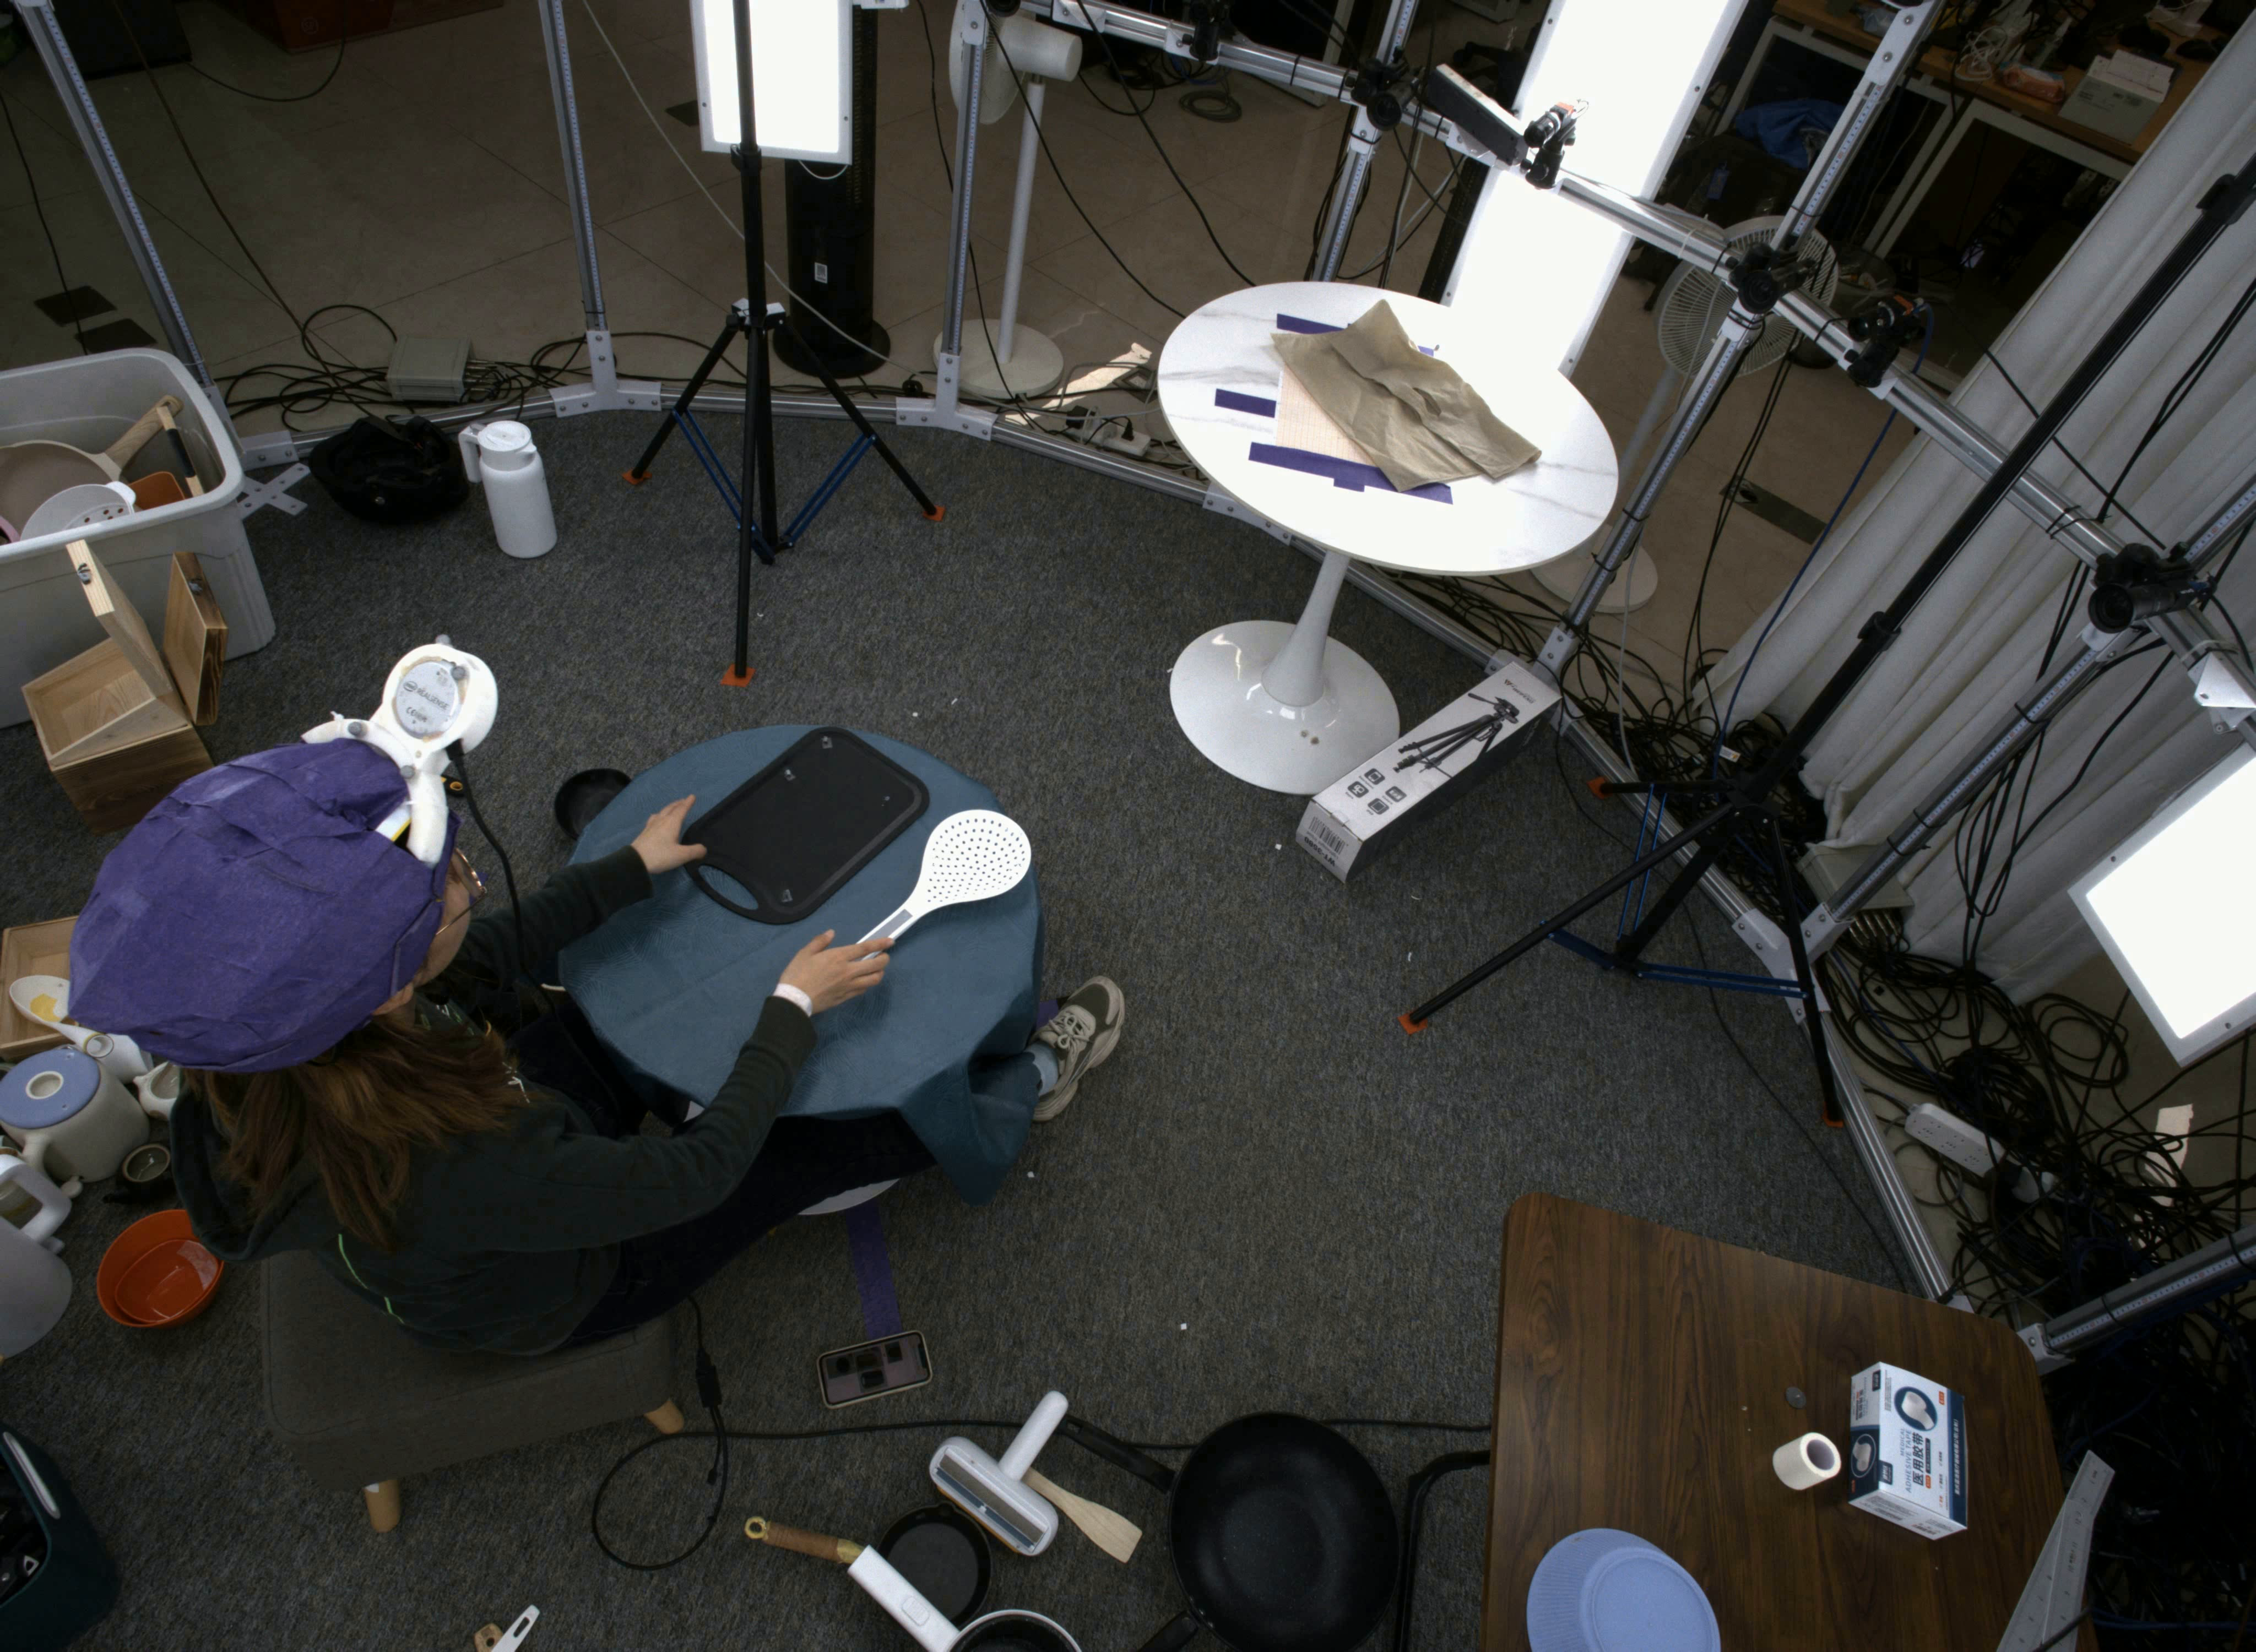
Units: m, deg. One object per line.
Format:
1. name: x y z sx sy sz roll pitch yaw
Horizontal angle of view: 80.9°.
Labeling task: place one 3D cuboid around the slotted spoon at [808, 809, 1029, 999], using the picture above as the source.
1. slotted spoon: -0.269 0.100 1.666 0.133 0.047 0.350 39 55 17

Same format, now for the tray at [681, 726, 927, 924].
1. tray: -0.432 -0.006 1.727 0.207 0.010 0.325 34 54 12
